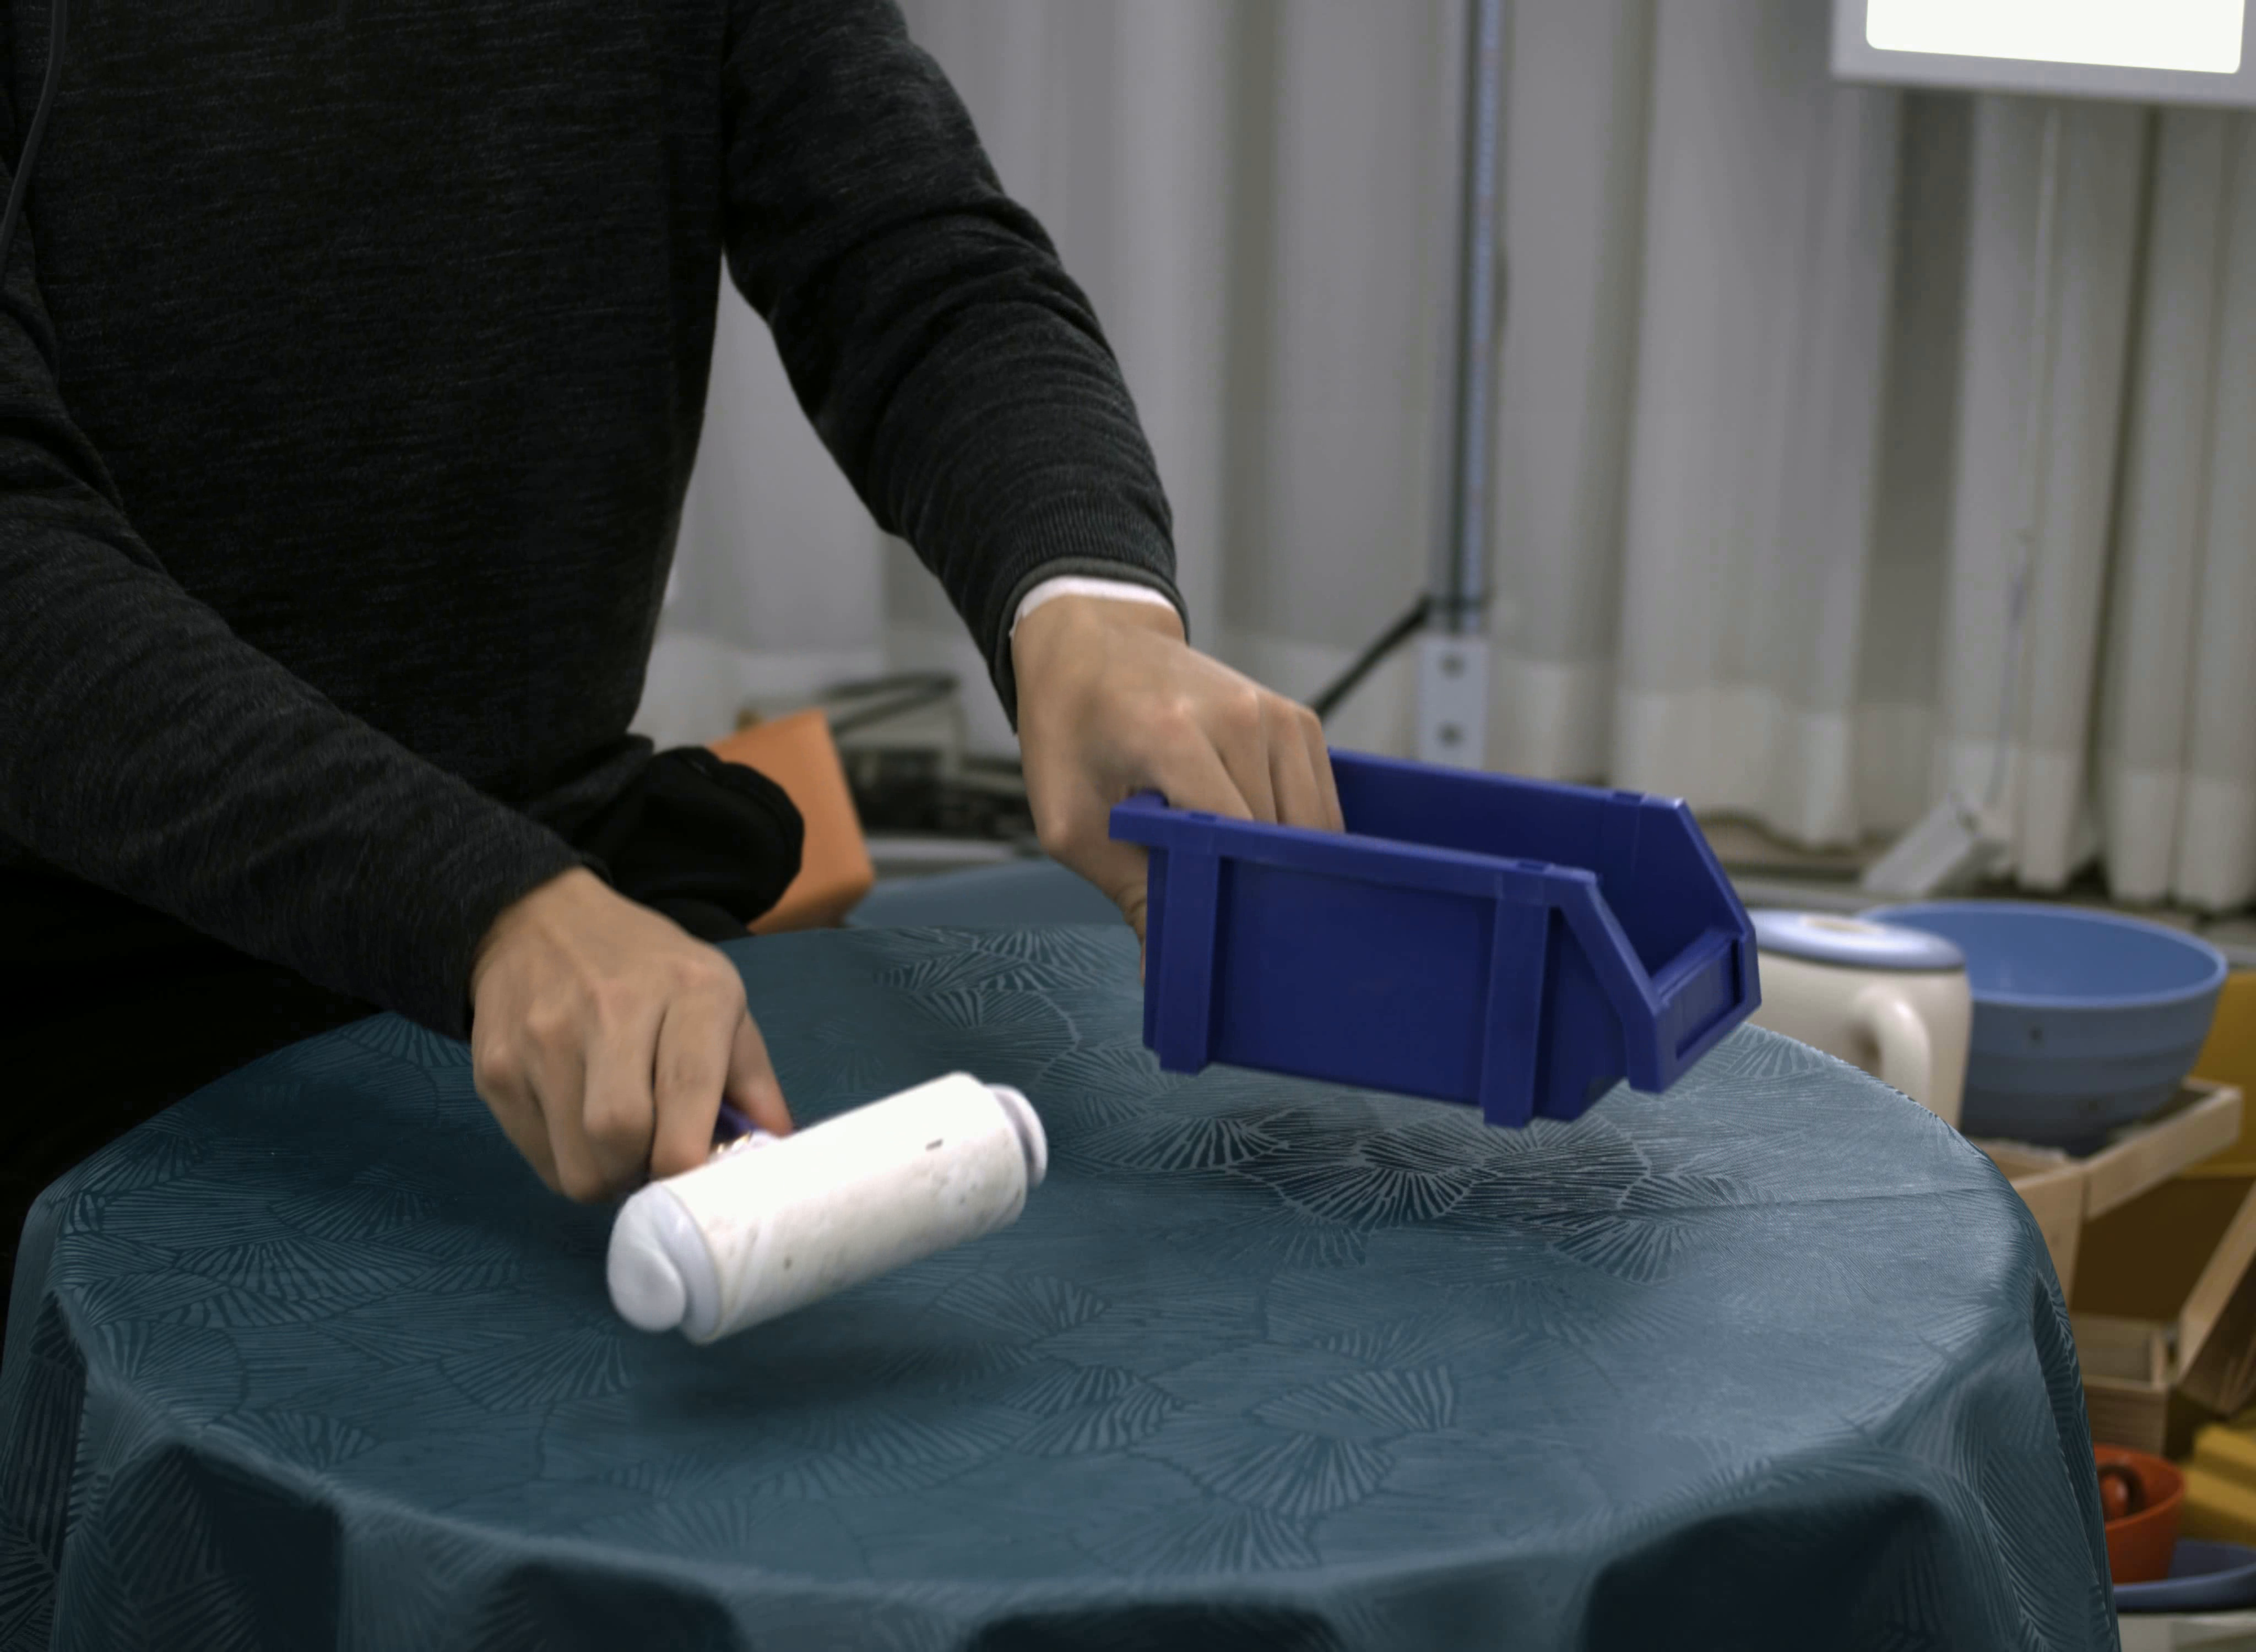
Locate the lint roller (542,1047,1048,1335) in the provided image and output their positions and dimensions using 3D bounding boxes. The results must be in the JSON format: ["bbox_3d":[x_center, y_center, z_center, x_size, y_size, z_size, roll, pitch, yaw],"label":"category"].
[{"bbox_3d":[-0.117,0.082,1.504,0.133,0.051,0.178,-20,30,-29],"label":"lint roller"}]

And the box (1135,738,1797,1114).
[{"bbox_3d":[0.107,0.030,1.626,0.177,0.082,0.125,6,13,21],"label":"box"}]
